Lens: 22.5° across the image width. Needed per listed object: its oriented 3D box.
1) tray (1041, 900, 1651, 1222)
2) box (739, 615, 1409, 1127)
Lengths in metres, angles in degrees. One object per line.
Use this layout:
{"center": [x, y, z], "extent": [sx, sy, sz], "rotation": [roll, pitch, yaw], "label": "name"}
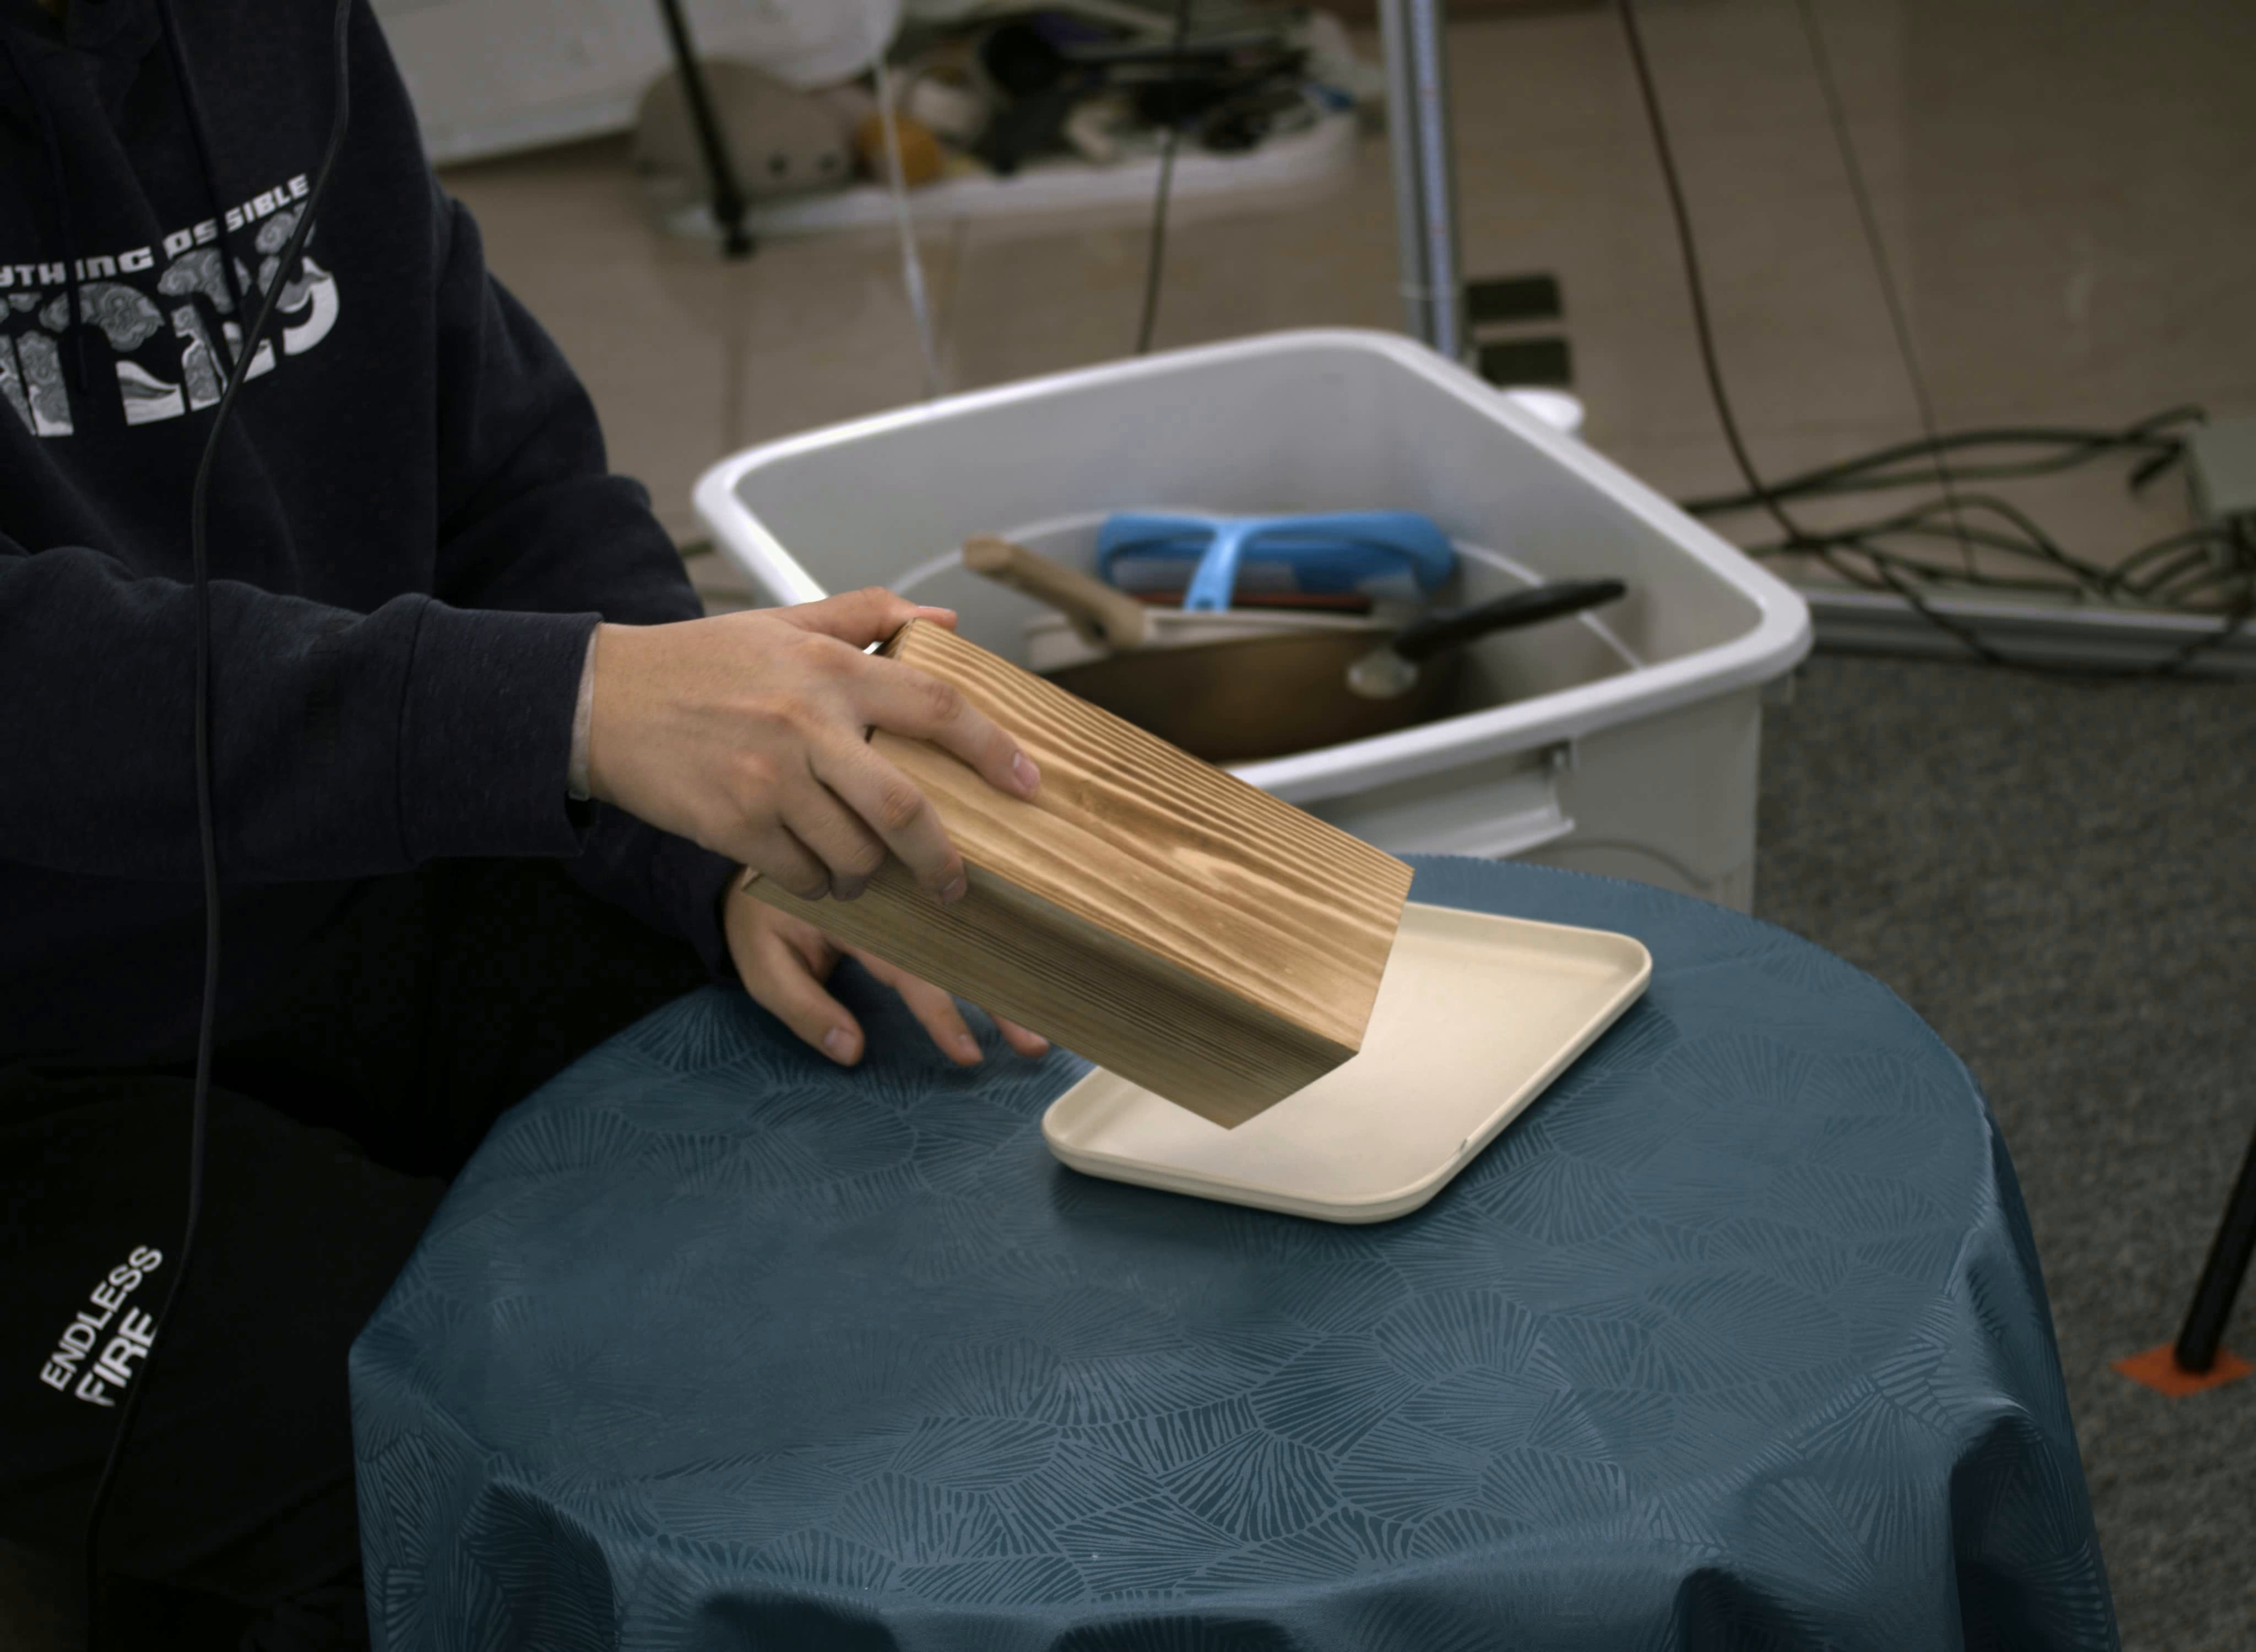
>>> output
{"center": [0.087, 0.090, 2.213], "extent": [0.170, 0.018, 0.237], "rotation": [8, 29, 30], "label": "tray"}
{"center": [-0.020, 0.019, 2.064], "extent": [0.108, 0.212, 0.079], "rotation": [-33, 34, 59], "label": "box"}
